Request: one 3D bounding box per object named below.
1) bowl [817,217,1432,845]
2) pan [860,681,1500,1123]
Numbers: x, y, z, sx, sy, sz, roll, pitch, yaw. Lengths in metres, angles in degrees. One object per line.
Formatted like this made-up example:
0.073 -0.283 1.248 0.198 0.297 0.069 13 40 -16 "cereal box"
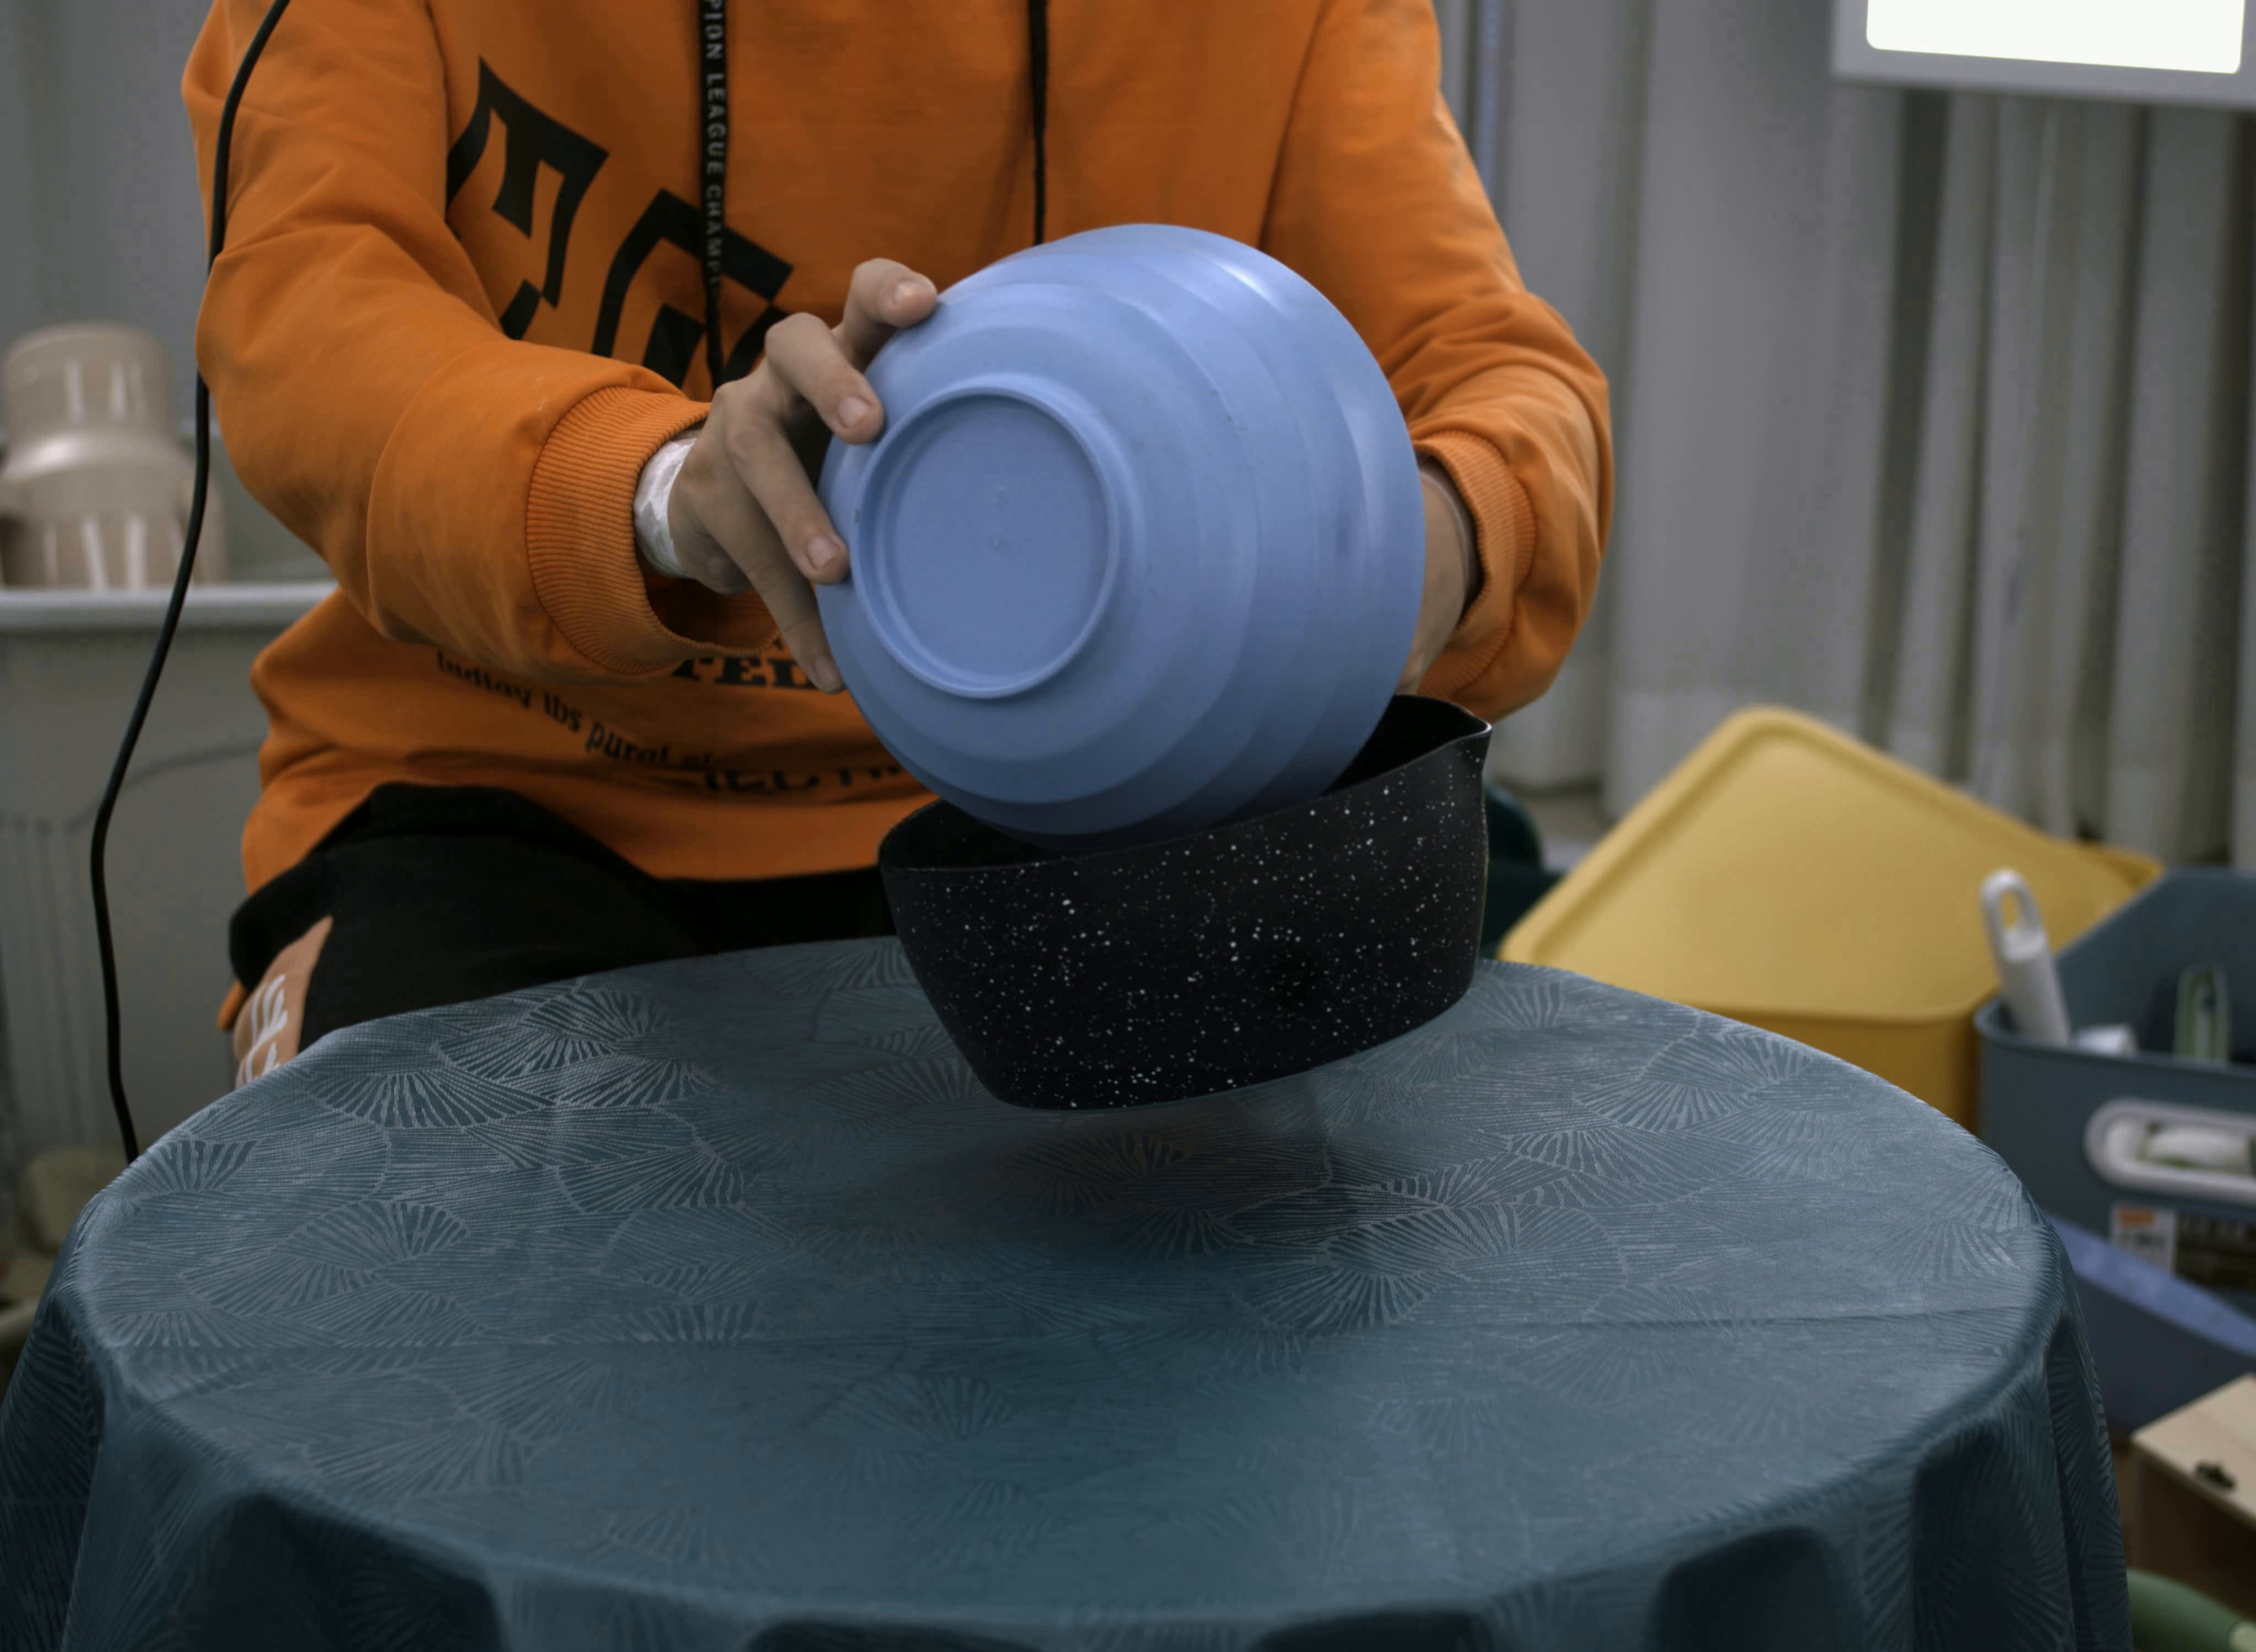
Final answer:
-0.018 -0.084 1.557 0.194 0.197 0.096 10 8 28 "bowl"
0.035 -0.004 1.676 0.206 0.109 0.342 -11 12 14 "pan"
